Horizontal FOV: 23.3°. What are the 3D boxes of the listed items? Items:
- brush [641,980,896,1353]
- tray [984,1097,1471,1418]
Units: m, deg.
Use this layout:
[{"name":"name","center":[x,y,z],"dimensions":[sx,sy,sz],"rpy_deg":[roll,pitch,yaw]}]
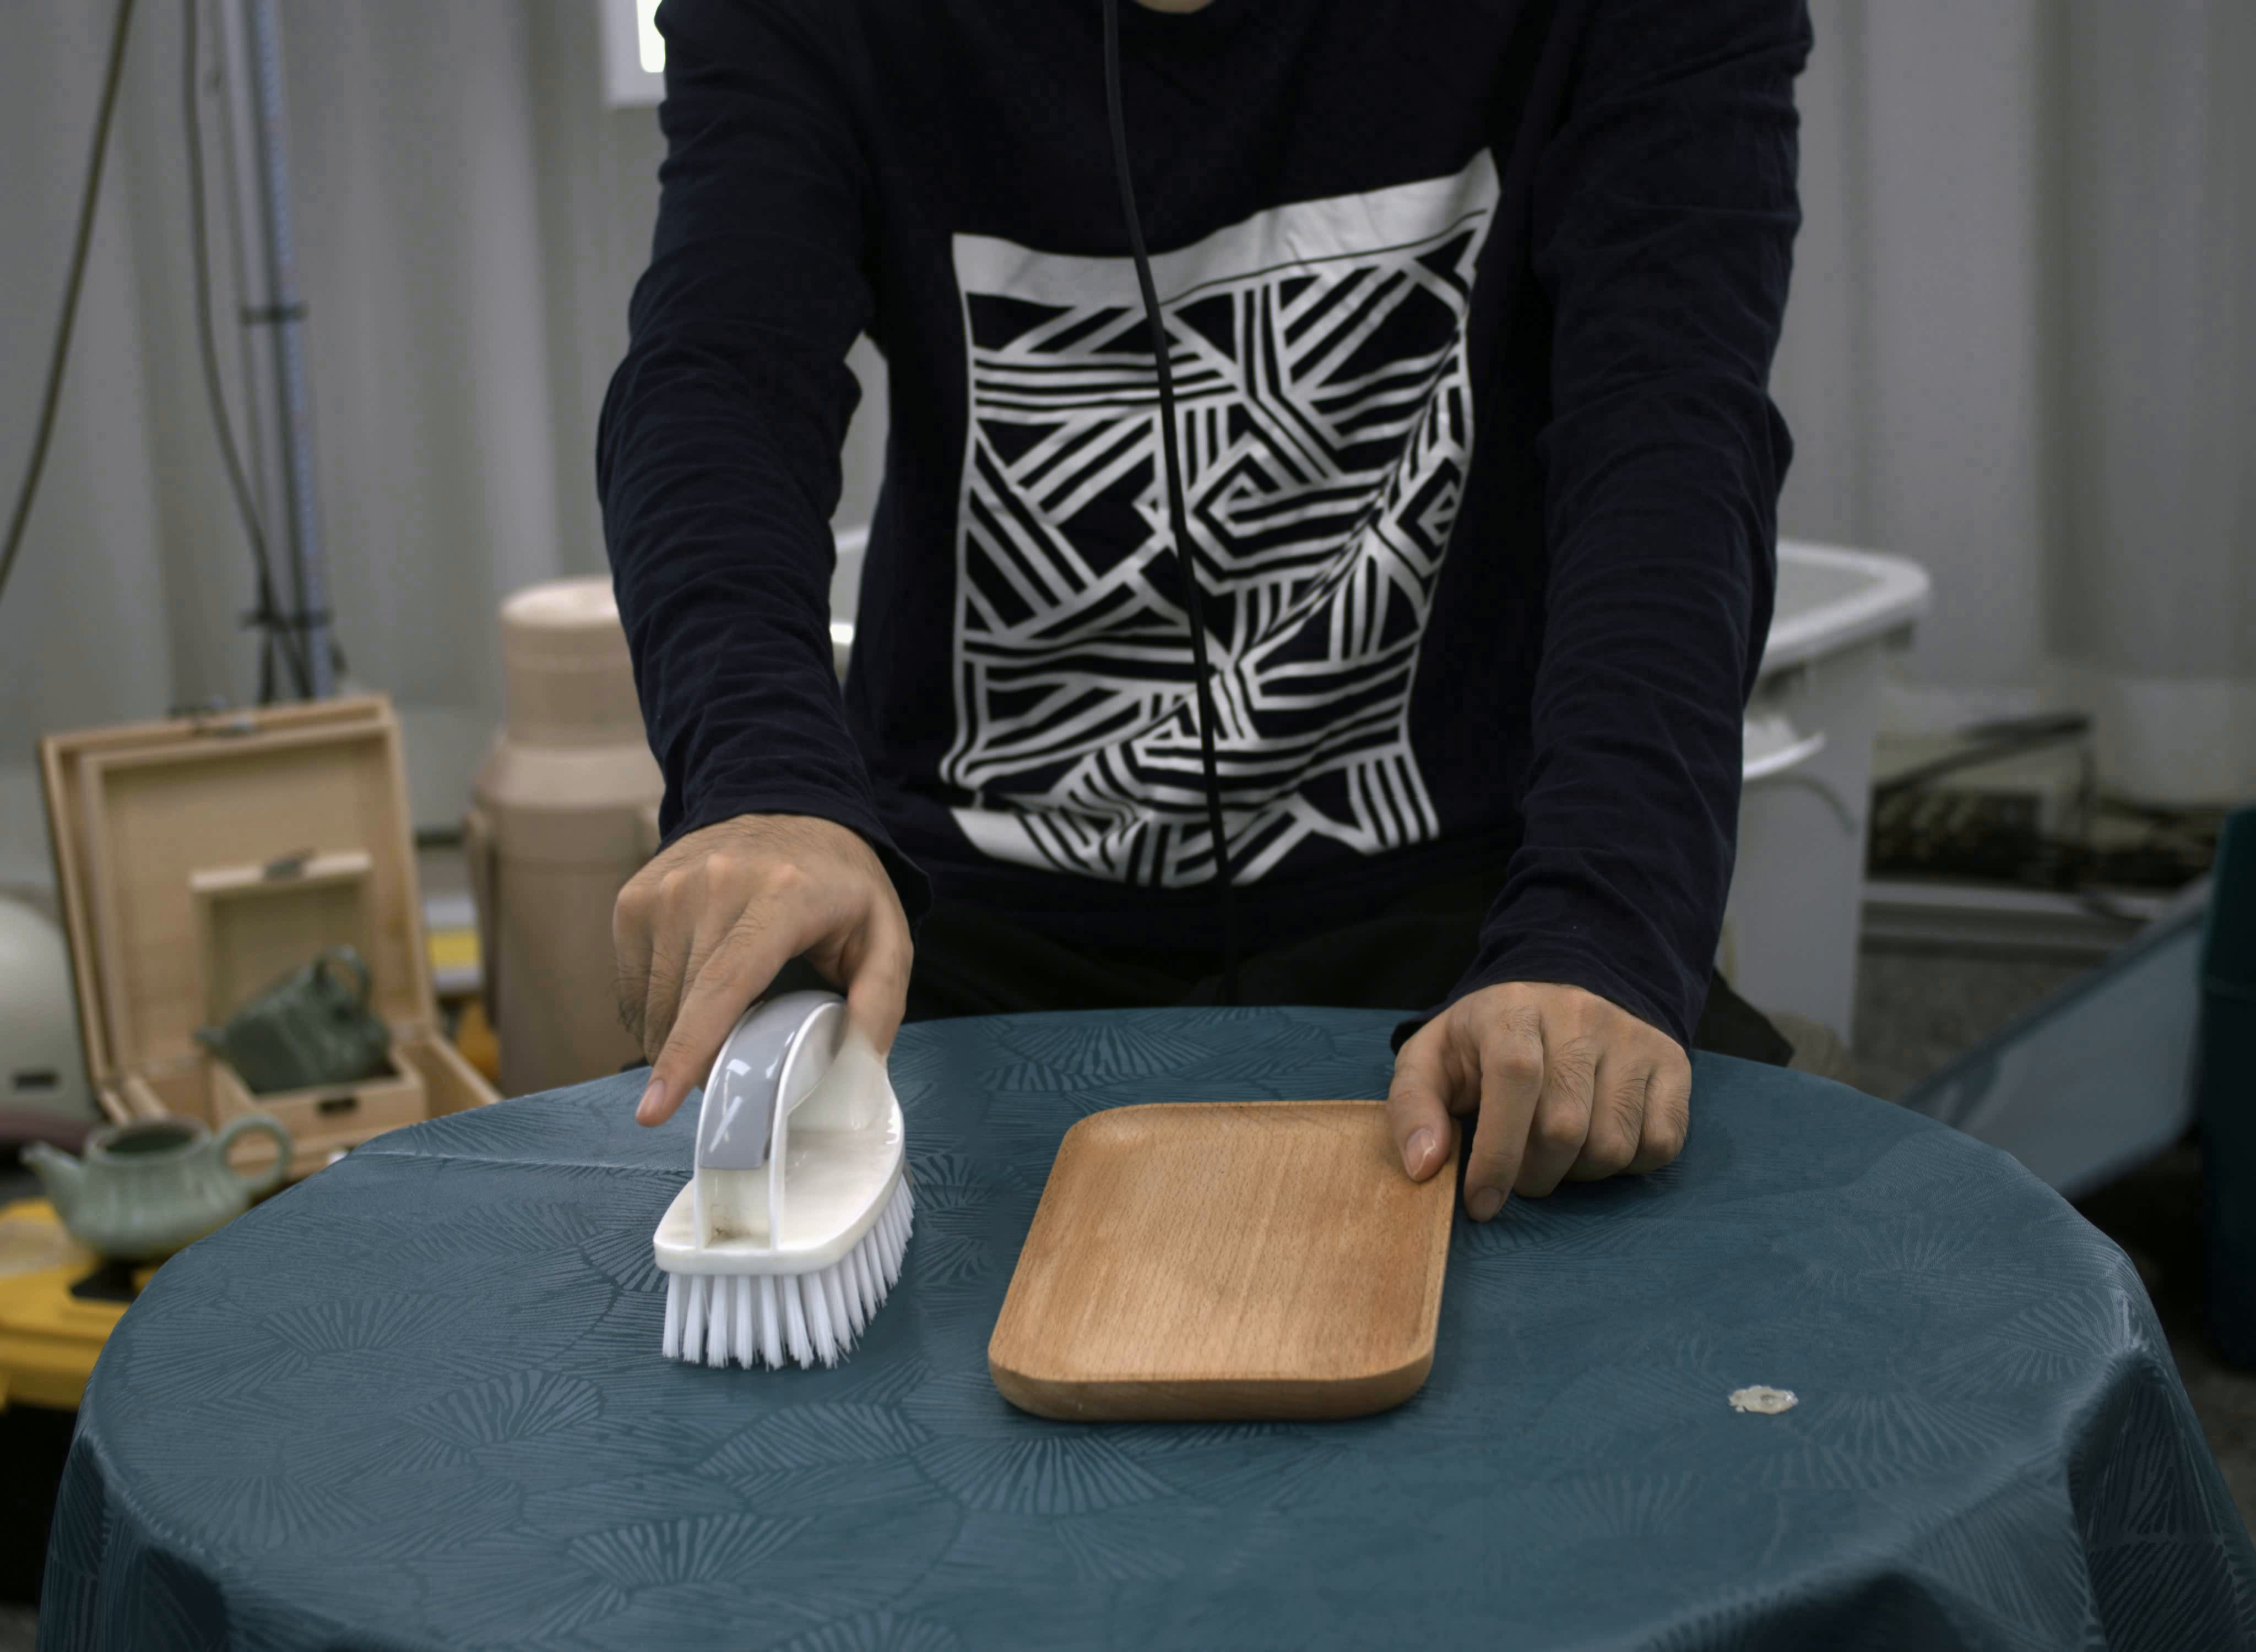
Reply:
[{"name":"brush","center":[-0.100,0.091,1.646],"dimensions":[0.061,0.094,0.176],"rpy_deg":[0,13,12]},{"name":"tray","center":[0.034,0.126,1.633],"dimensions":[0.130,0.023,0.252],"rpy_deg":[1,14,7]}]
